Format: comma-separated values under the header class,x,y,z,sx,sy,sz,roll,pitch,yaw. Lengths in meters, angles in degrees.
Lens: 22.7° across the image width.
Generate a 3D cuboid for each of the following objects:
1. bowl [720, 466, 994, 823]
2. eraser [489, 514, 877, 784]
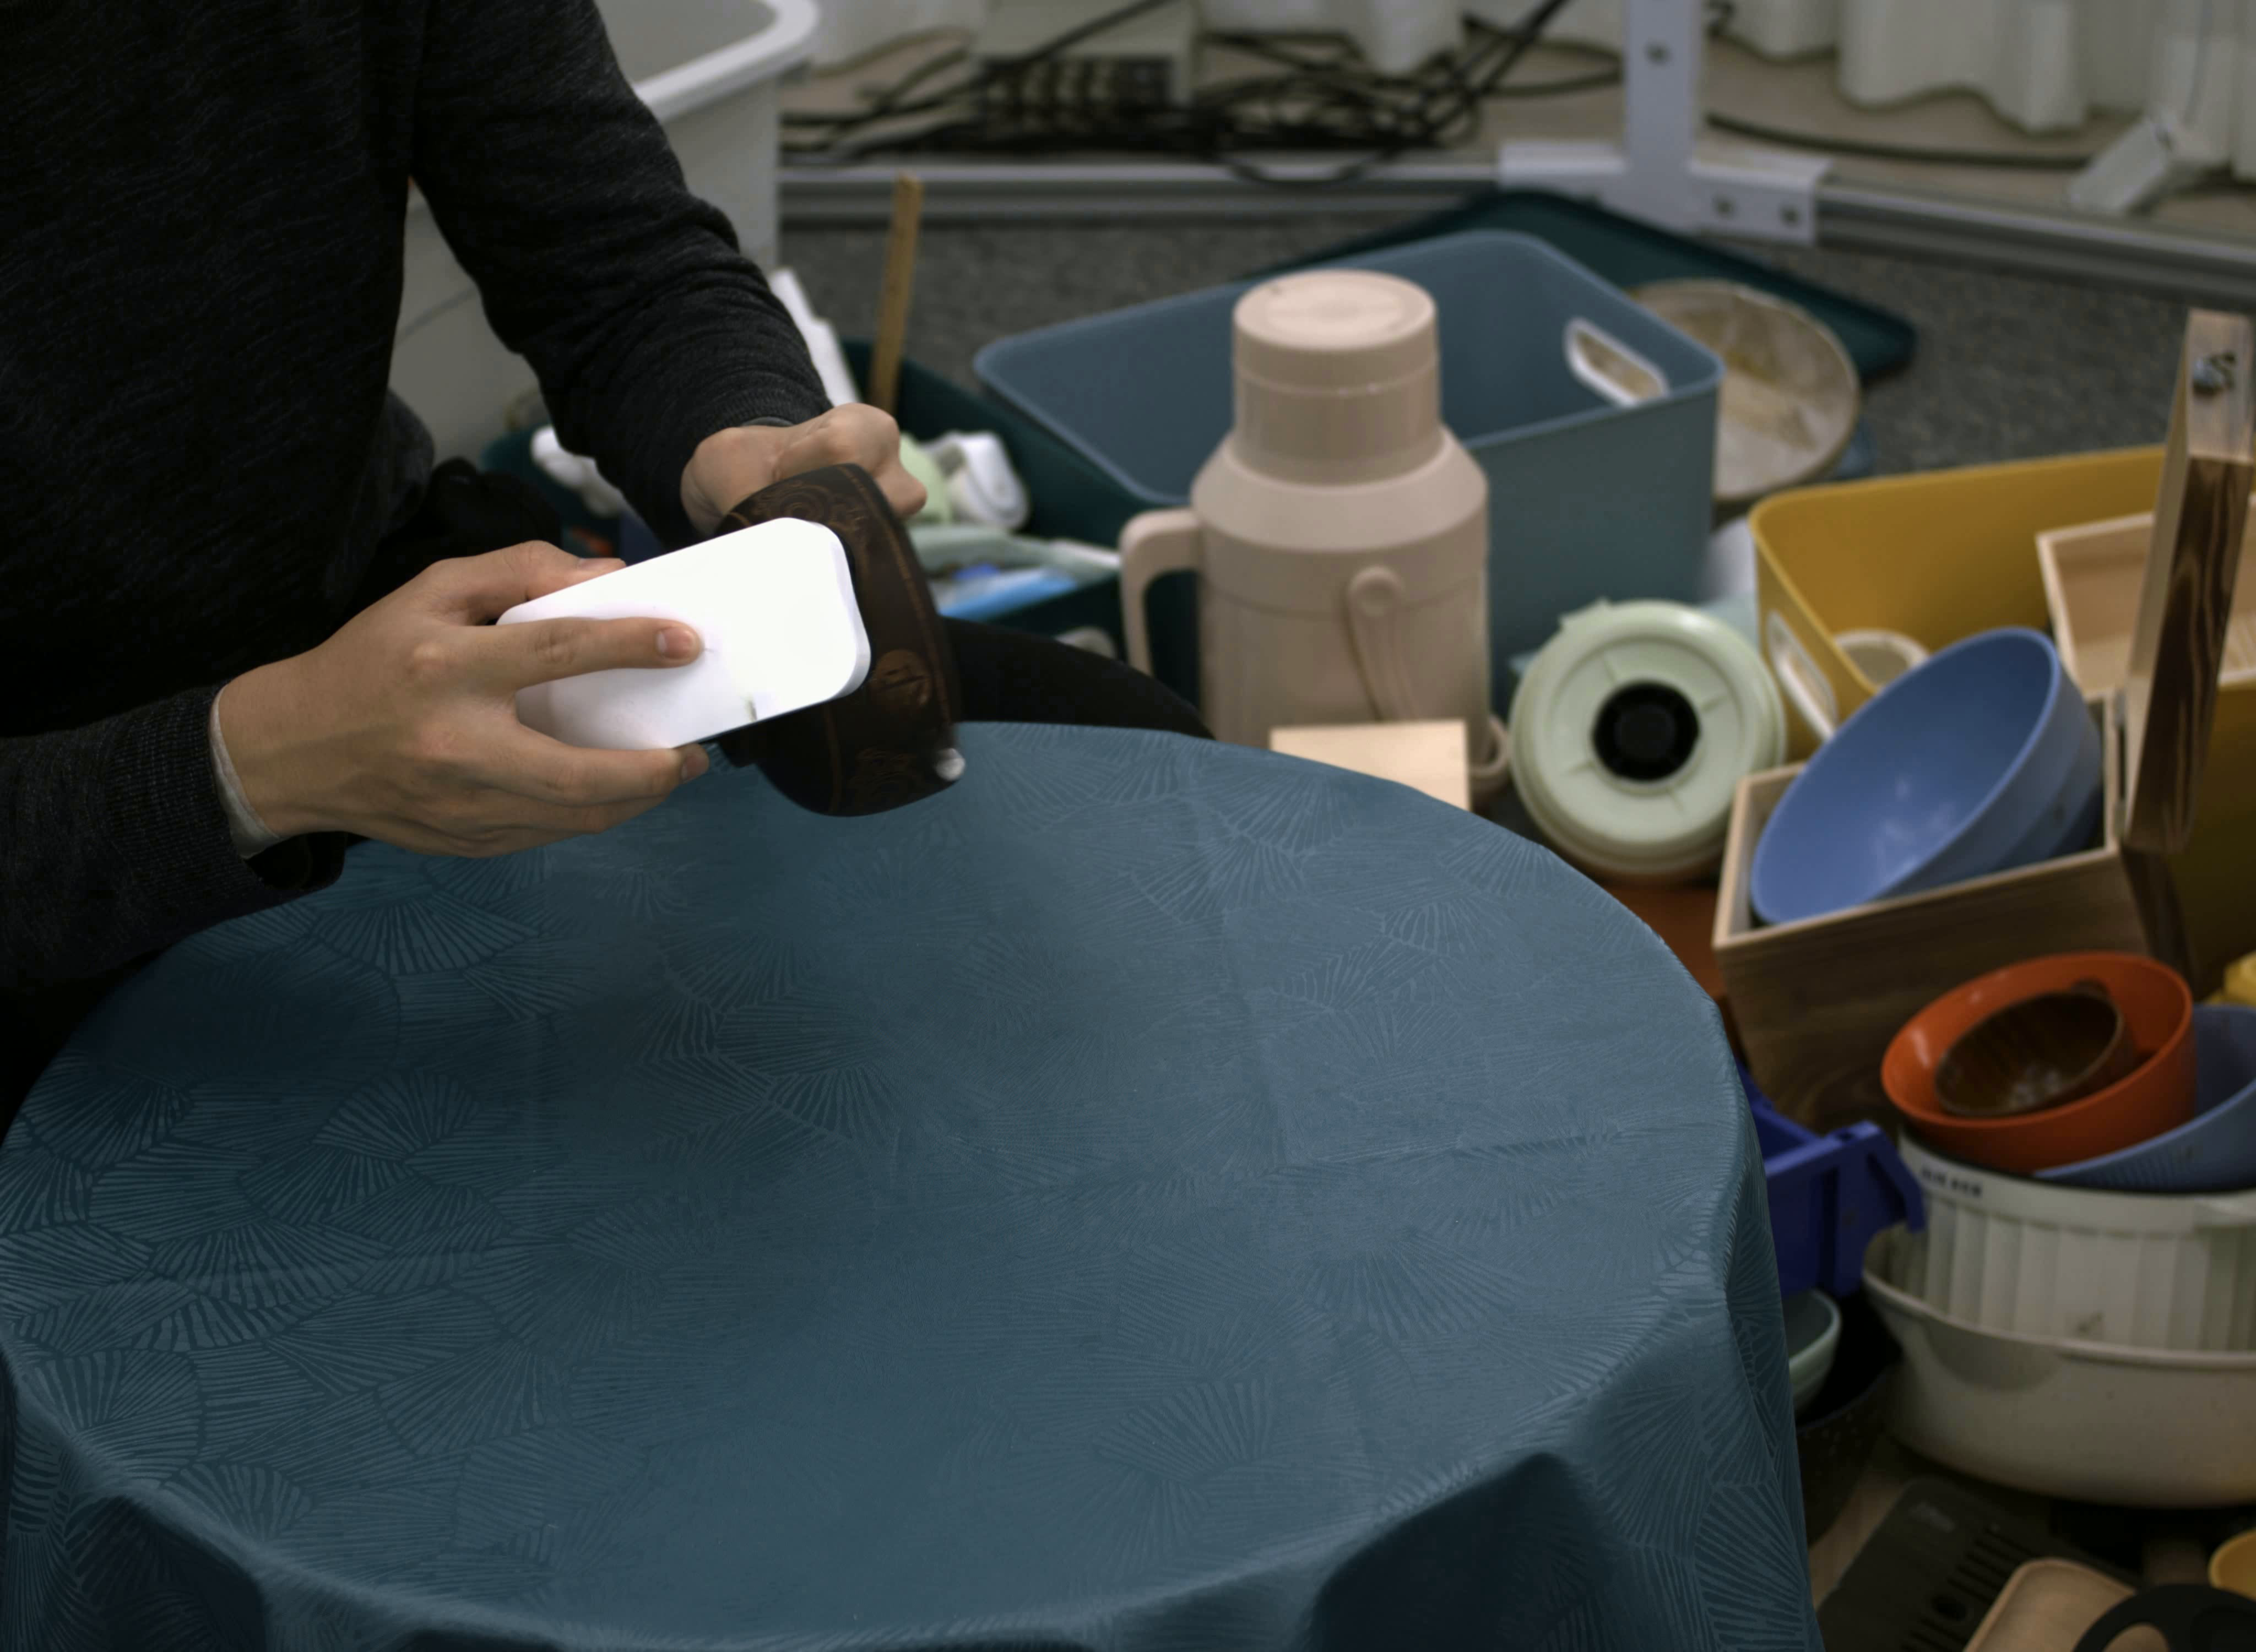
class,x,y,z,sx,sy,sz,roll,pitch,yaw
bowl,-0.101,-0.054,1.874,0.070,0.117,0.118,-26,33,-16
eraser,-0.145,-0.057,1.819,0.130,0.064,0.034,-16,-7,22
